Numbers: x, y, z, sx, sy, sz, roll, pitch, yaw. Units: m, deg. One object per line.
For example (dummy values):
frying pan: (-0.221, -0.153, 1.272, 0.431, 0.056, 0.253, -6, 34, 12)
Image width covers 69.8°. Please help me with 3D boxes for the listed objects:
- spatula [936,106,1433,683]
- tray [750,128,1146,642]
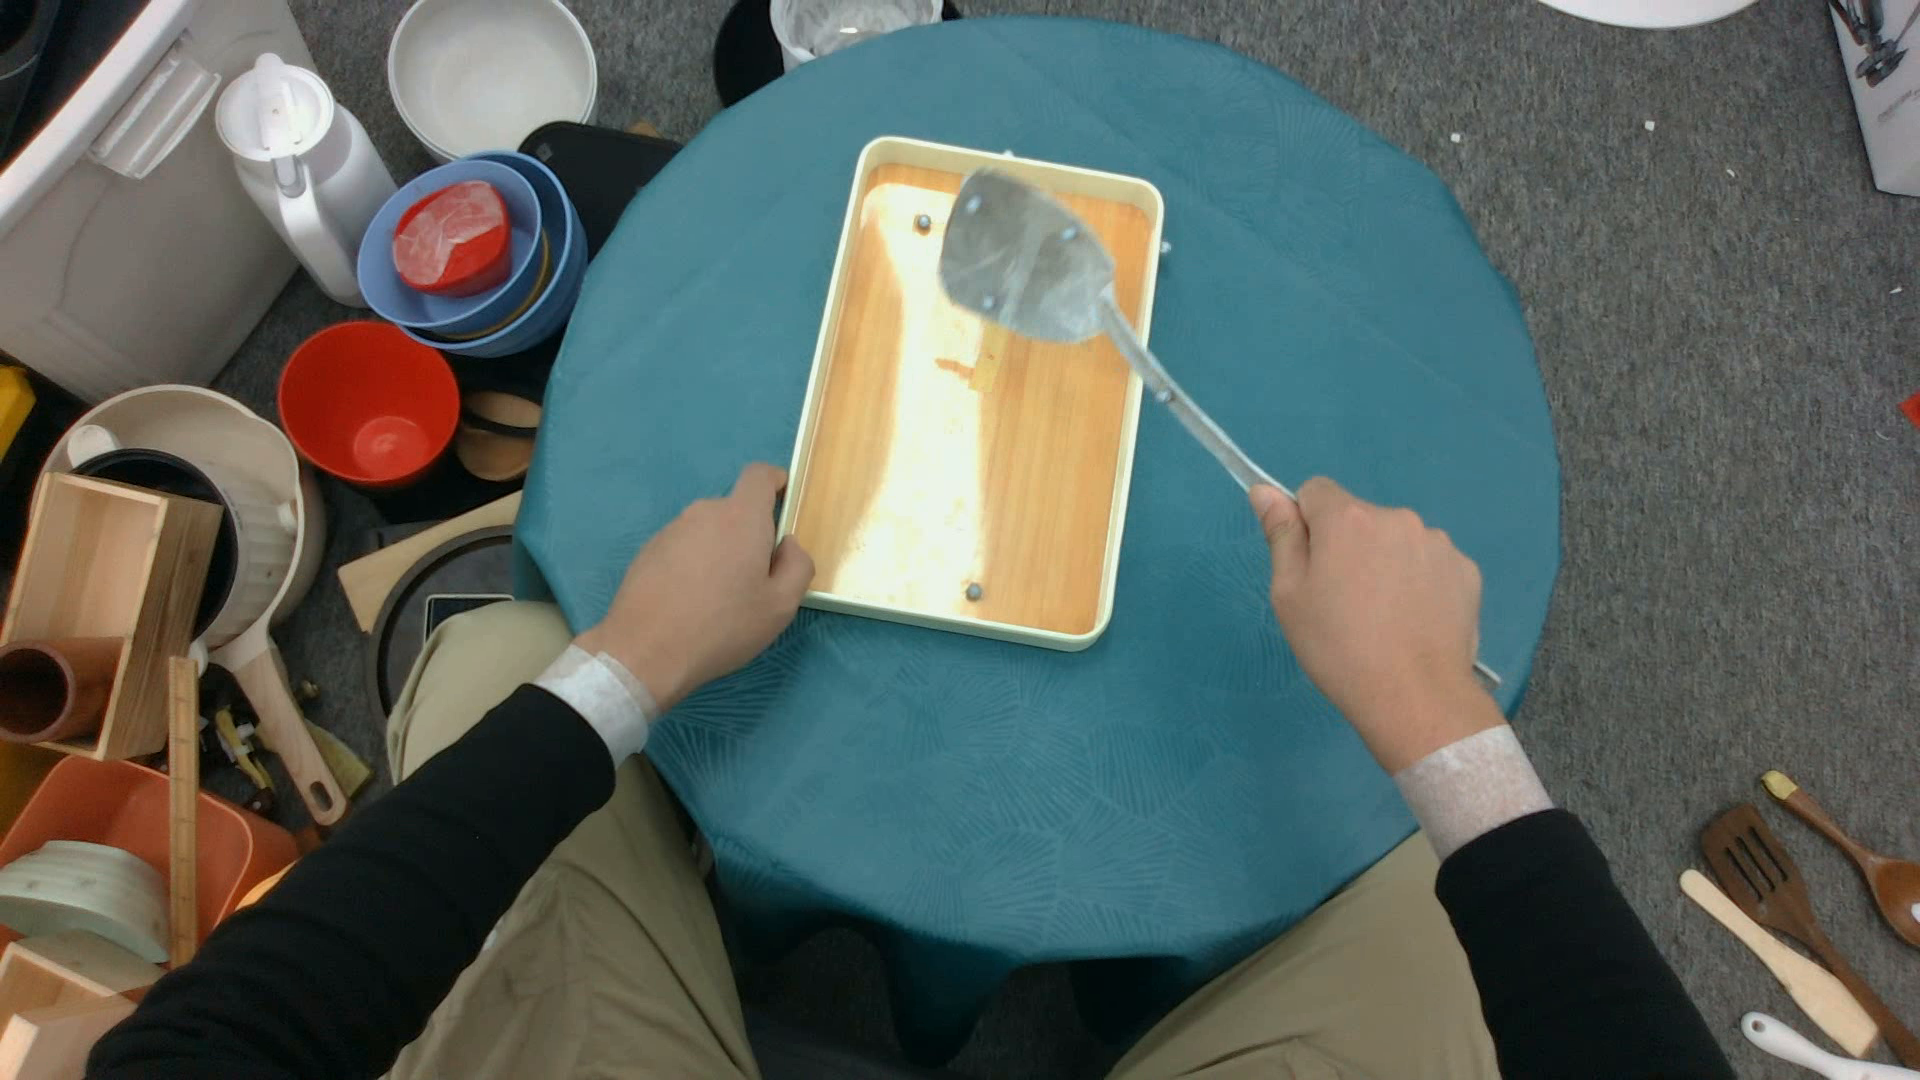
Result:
spatula: (0.117, -0.071, 0.704, 0.045, 0.098, 0.365, -20, 67, -43)
tray: (-0.001, -0.098, 0.808, 0.191, 0.027, 0.301, 10, 70, -1)
